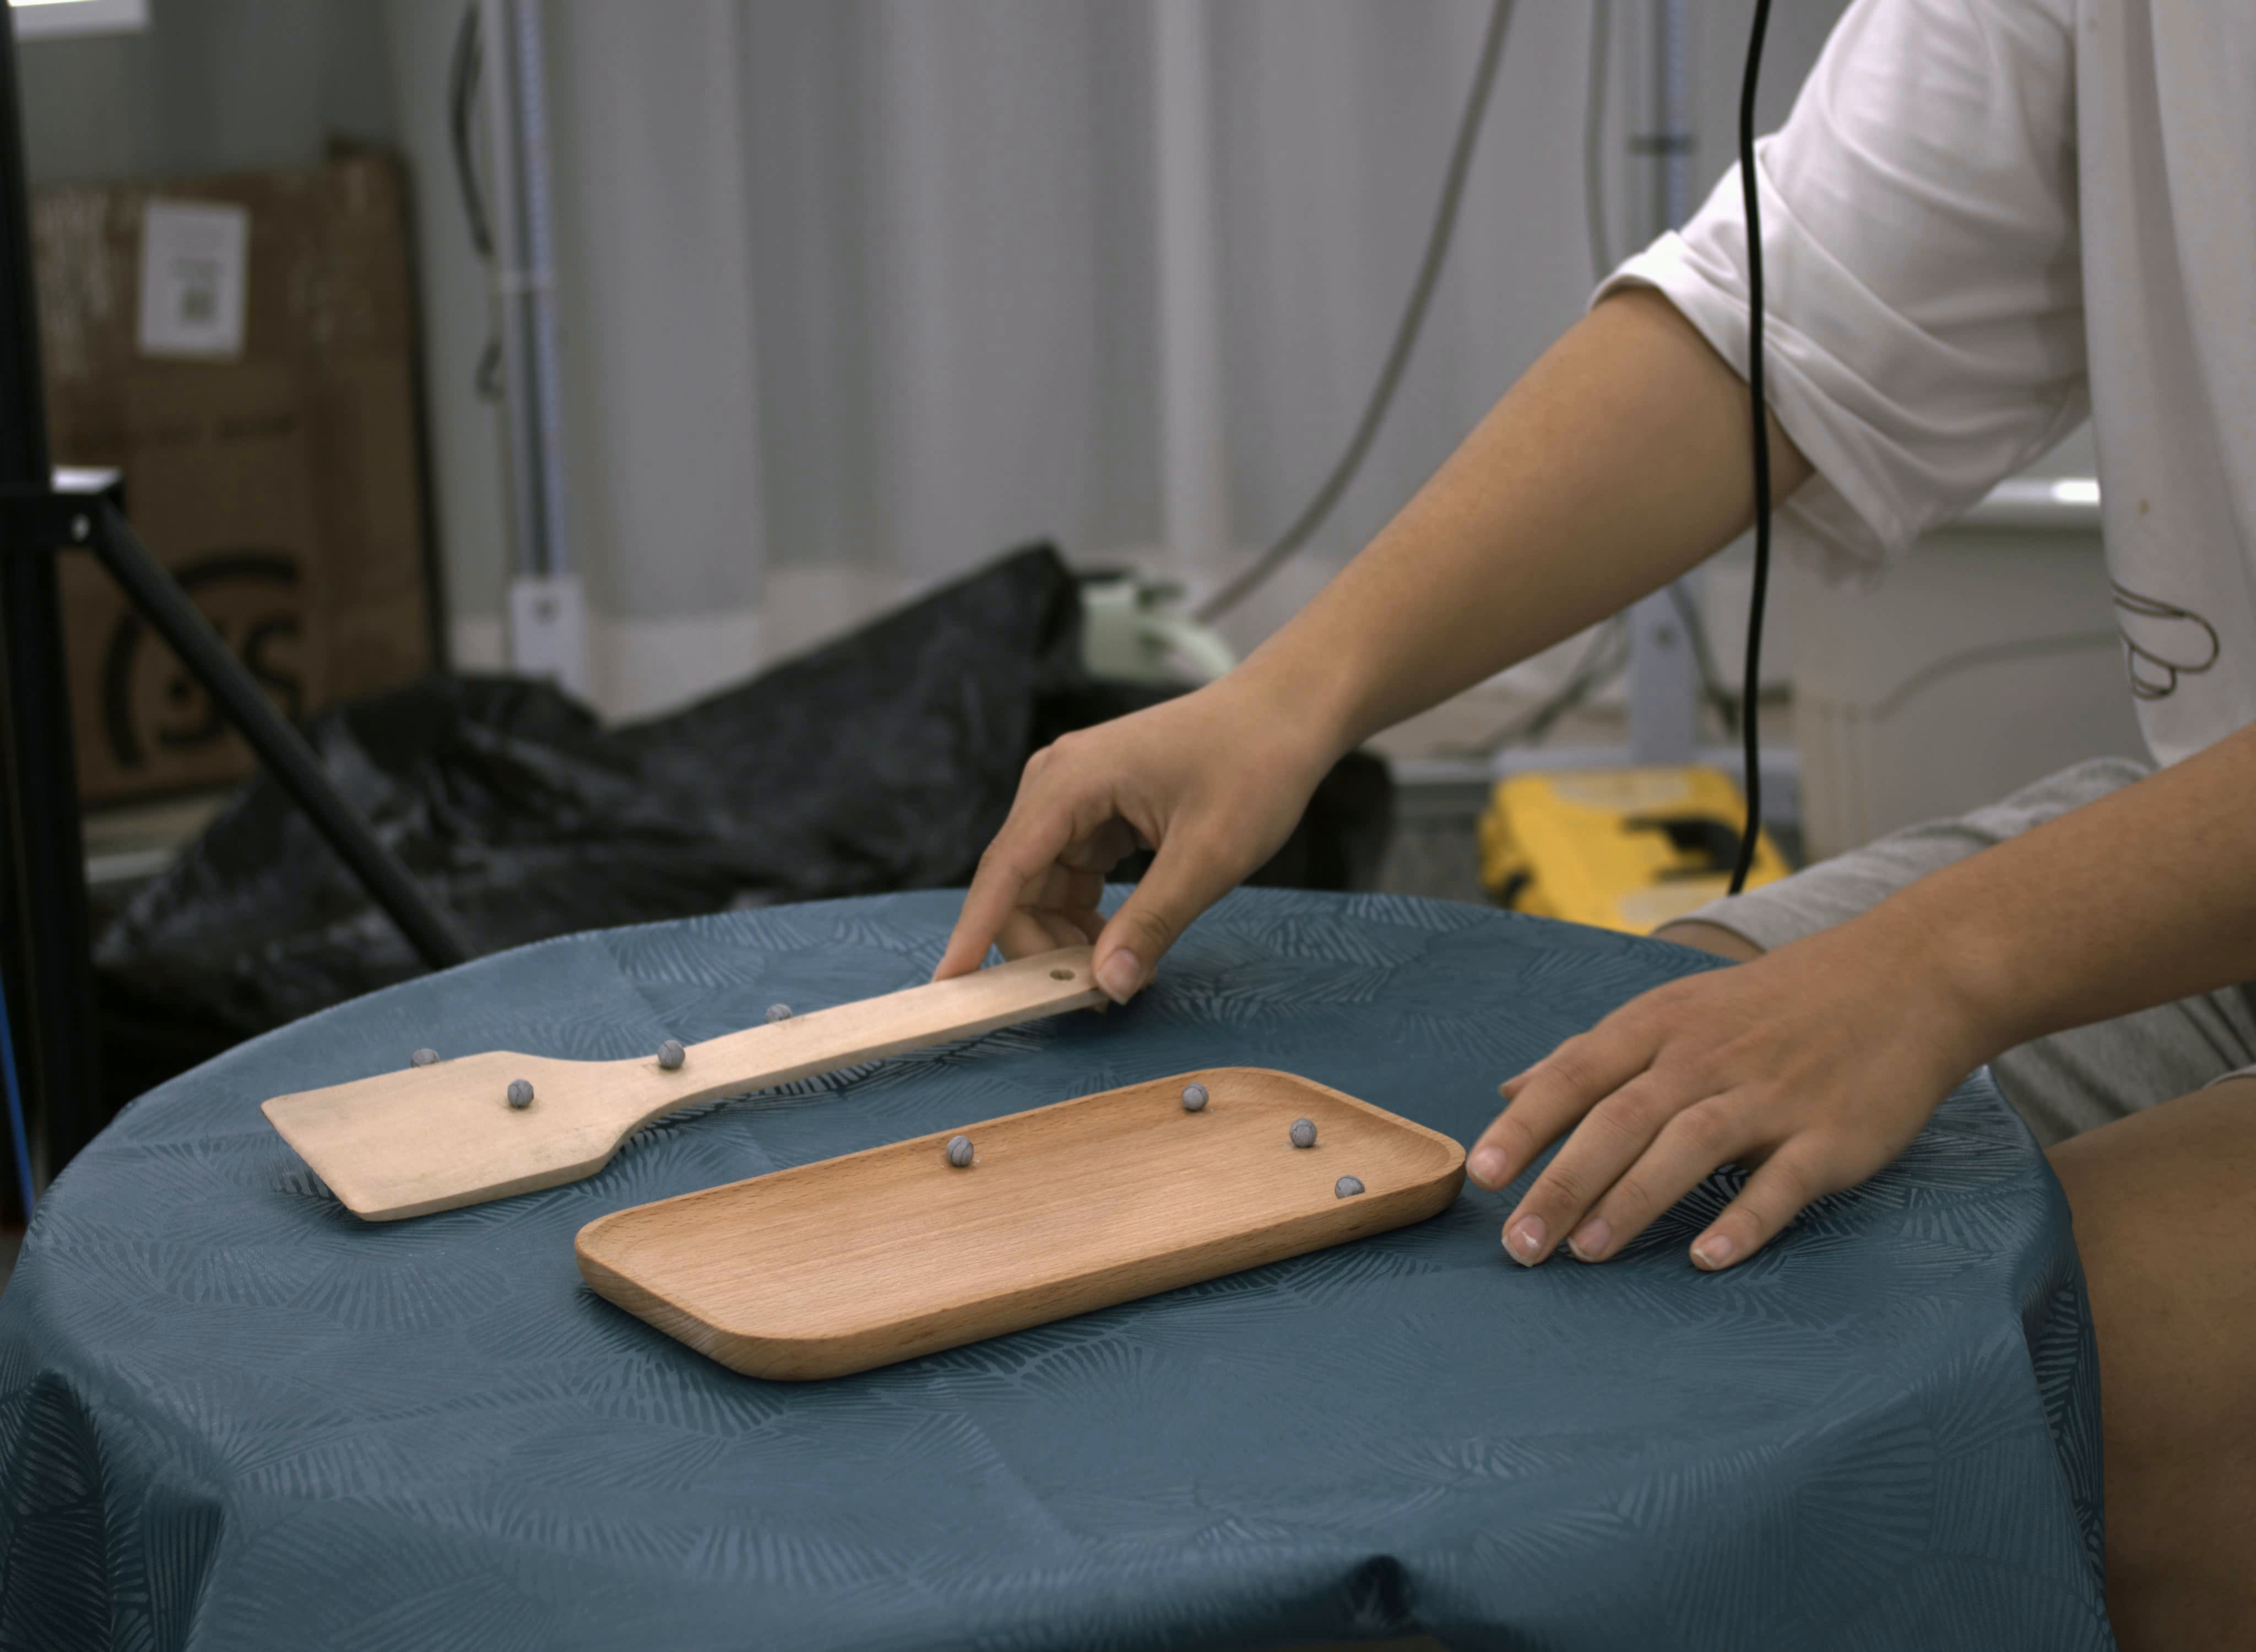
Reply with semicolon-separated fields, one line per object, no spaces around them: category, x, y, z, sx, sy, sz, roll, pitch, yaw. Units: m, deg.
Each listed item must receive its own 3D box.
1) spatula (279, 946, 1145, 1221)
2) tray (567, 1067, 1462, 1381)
spatula;-0.119;0.073;1.651;0.286;0.010;0.074;-13;32;-30
tray;-0.030;0.112;1.521;0.245;0.023;0.133;-12;16;-30
